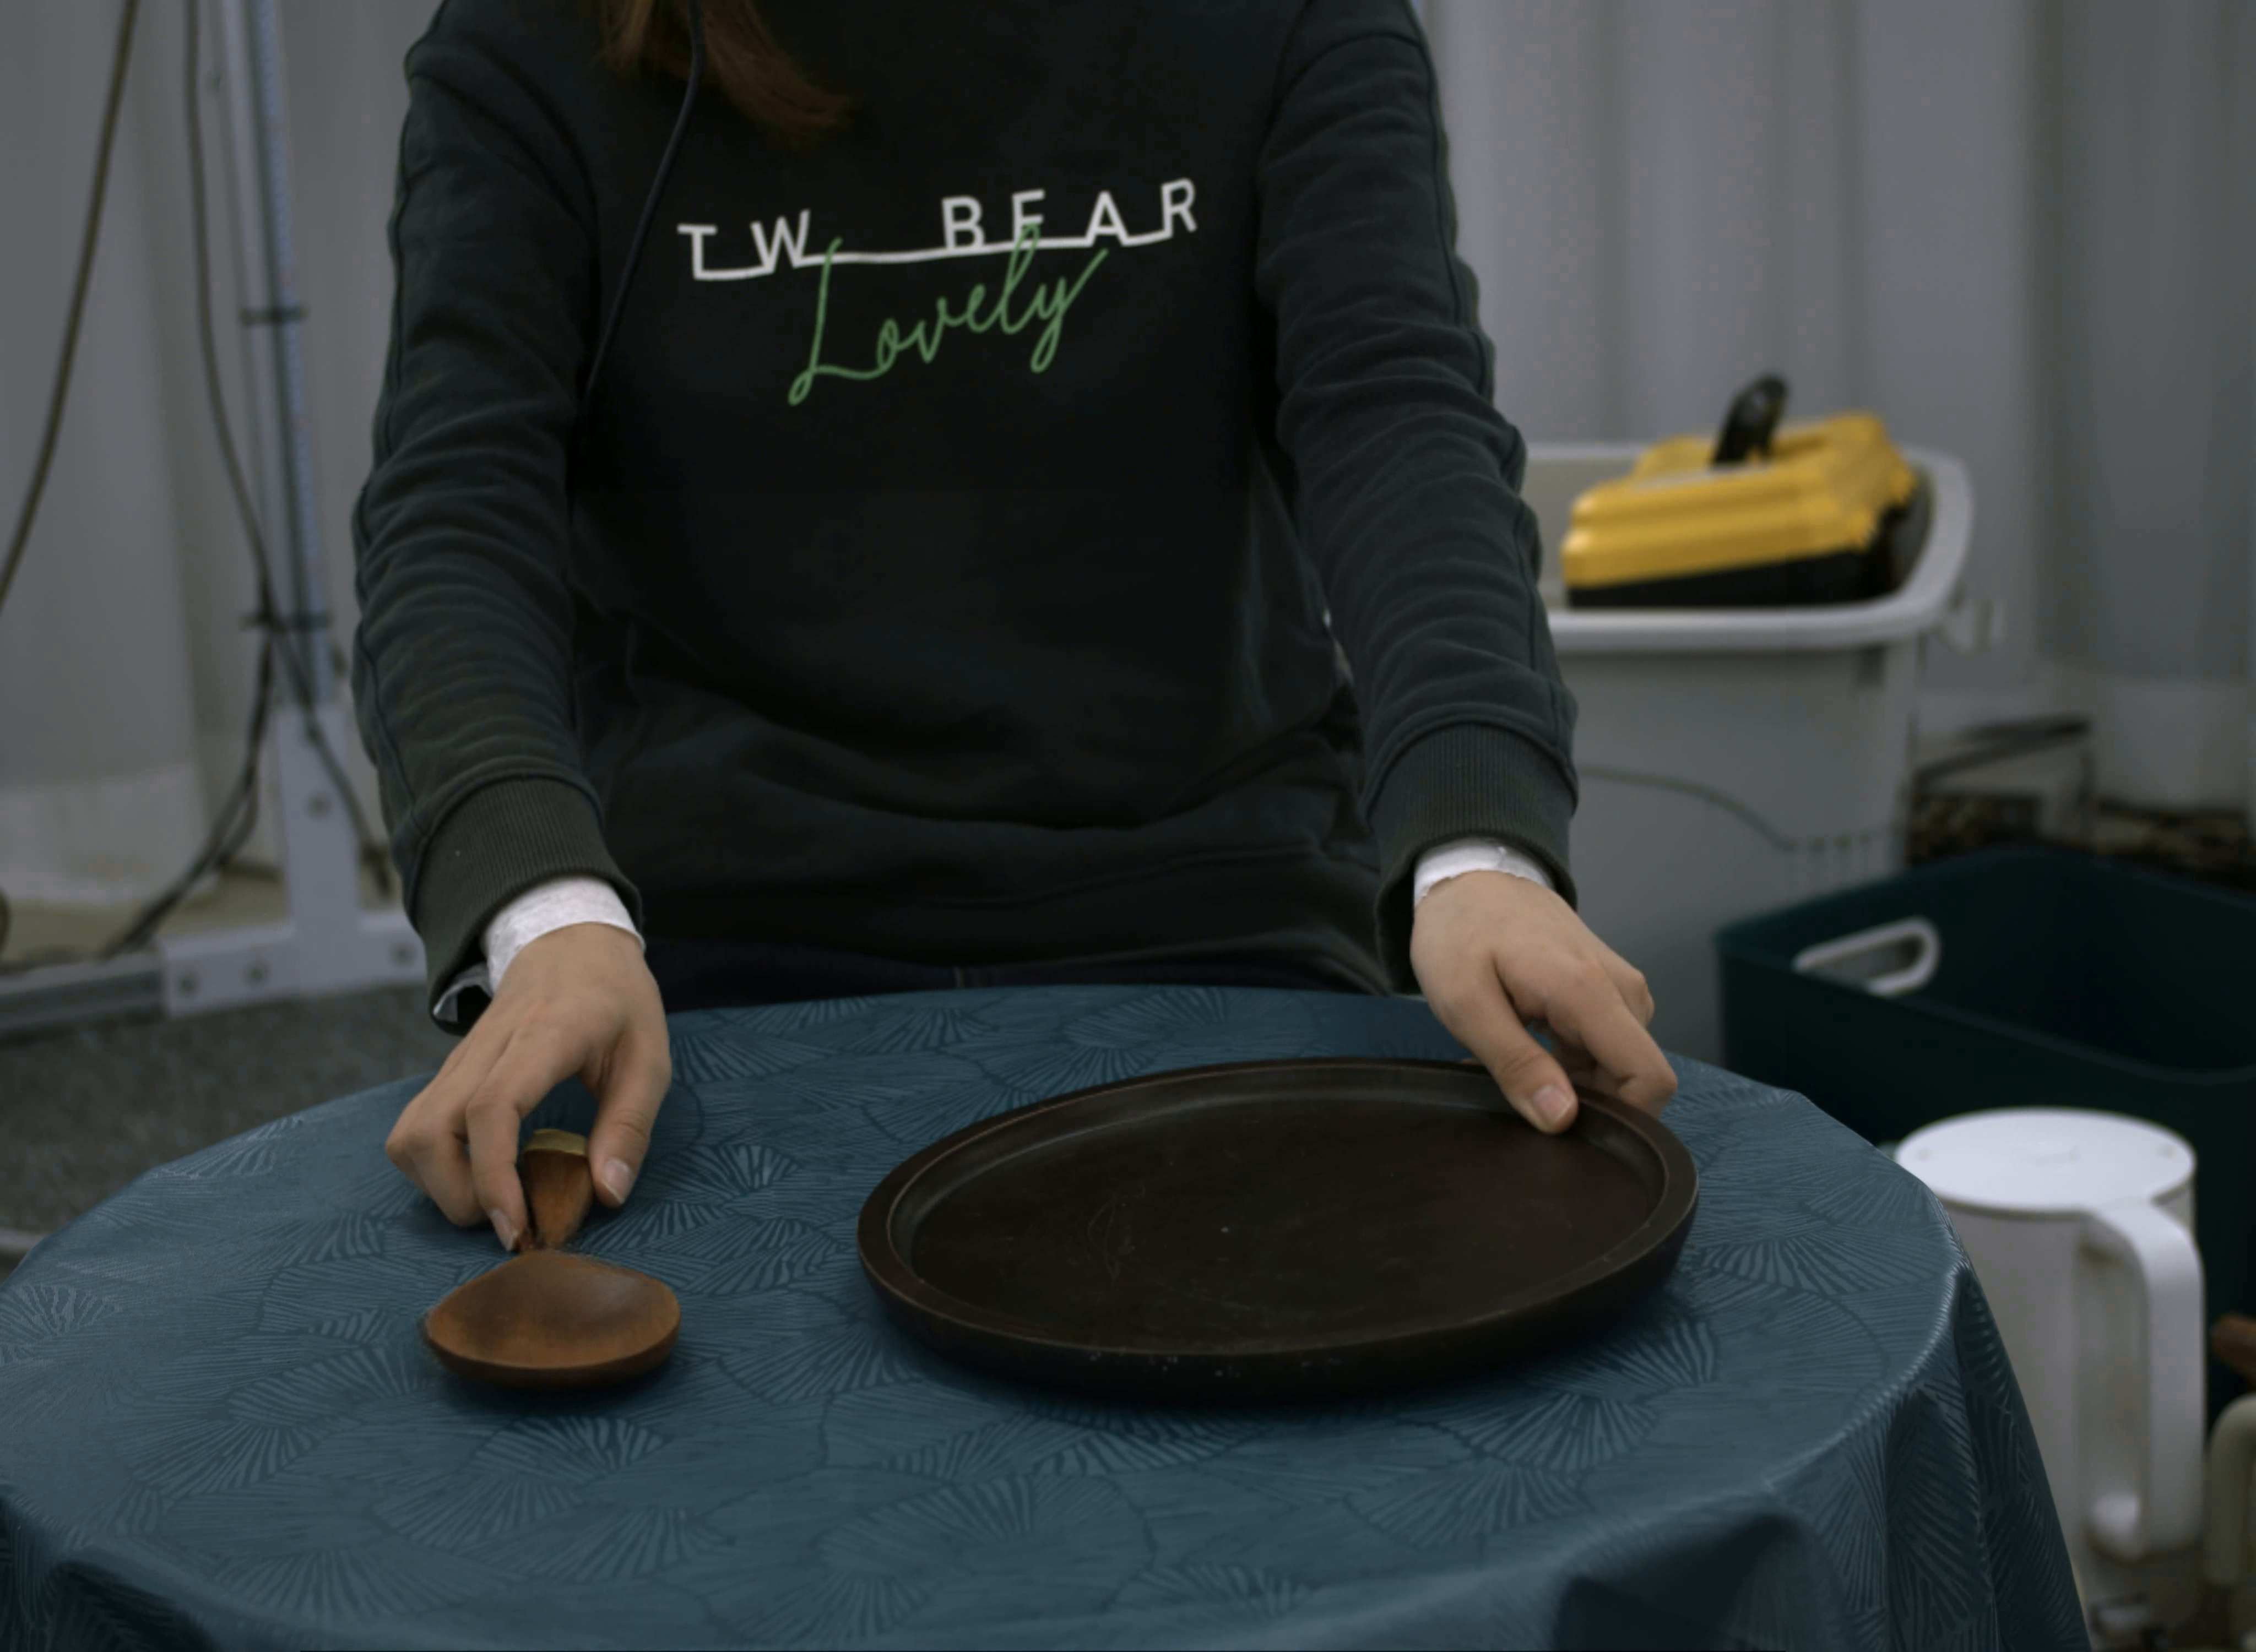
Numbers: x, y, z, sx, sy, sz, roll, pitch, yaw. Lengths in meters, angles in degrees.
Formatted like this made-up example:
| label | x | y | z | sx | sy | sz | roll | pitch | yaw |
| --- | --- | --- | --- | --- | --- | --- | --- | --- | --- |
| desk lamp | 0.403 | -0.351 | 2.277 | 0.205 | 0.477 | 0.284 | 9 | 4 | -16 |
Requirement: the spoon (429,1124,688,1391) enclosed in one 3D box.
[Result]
| label | x | y | z | sx | sy | sz | roll | pitch | yaw |
| --- | --- | --- | --- | --- | --- | --- | --- | --- | --- |
| spoon | -0.171 | 0.131 | 1.648 | 0.075 | 0.017 | 0.217 | -3 | 16 | -5 |

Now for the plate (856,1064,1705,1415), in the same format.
| label | x | y | z | sx | sy | sz | roll | pitch | yaw |
| --- | --- | --- | --- | --- | --- | --- | --- | --- | --- |
| plate | 0.045 | 0.121 | 1.630 | 0.254 | 0.029 | 0.257 | -4 | 17 | 1 |
